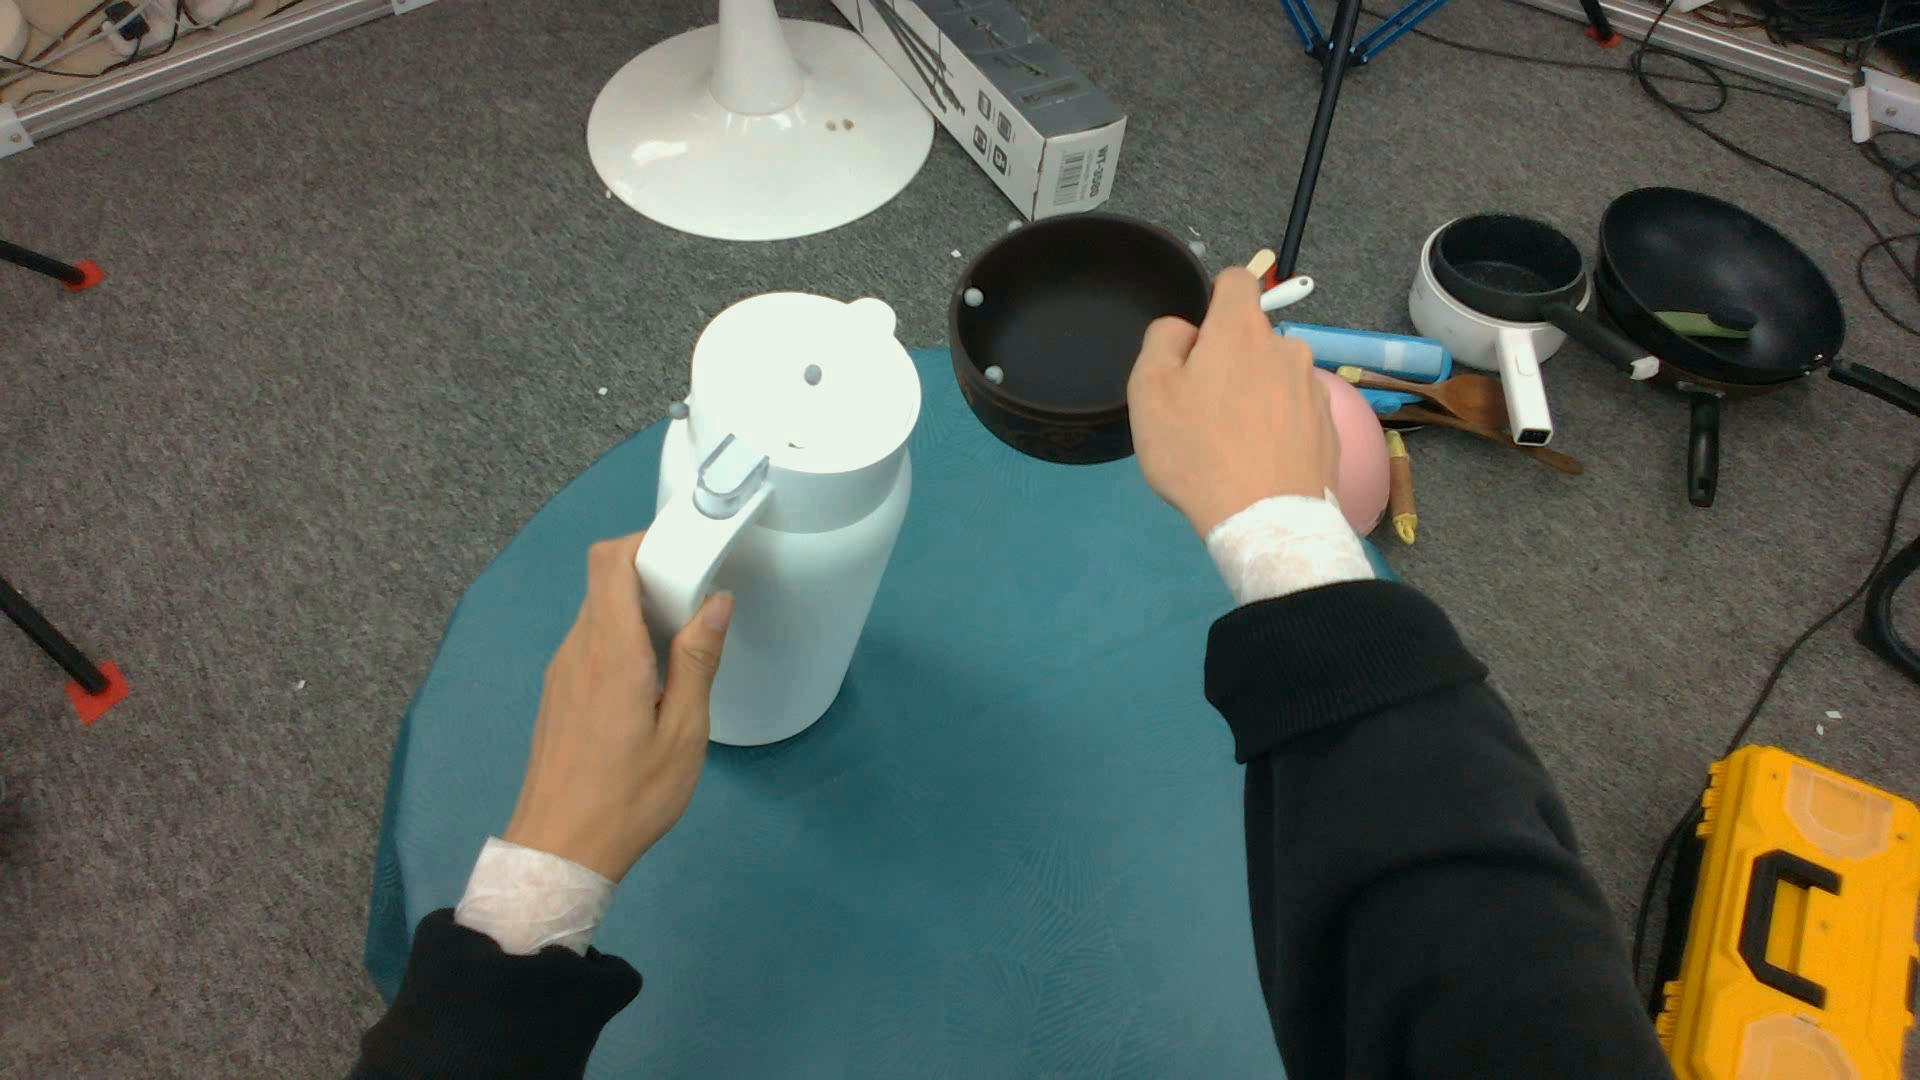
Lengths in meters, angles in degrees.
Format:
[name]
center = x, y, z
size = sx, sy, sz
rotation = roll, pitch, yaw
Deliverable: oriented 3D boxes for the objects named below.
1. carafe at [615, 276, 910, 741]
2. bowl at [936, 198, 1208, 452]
[carafe]
center = -0.108, 0.008, 0.685
size = 0.124, 0.267, 0.173
rotation = 31, 54, 2
[bowl]
center = 0.050, -0.088, 0.615
size = 0.118, 0.069, 0.118
rotation = -3, 57, 5
